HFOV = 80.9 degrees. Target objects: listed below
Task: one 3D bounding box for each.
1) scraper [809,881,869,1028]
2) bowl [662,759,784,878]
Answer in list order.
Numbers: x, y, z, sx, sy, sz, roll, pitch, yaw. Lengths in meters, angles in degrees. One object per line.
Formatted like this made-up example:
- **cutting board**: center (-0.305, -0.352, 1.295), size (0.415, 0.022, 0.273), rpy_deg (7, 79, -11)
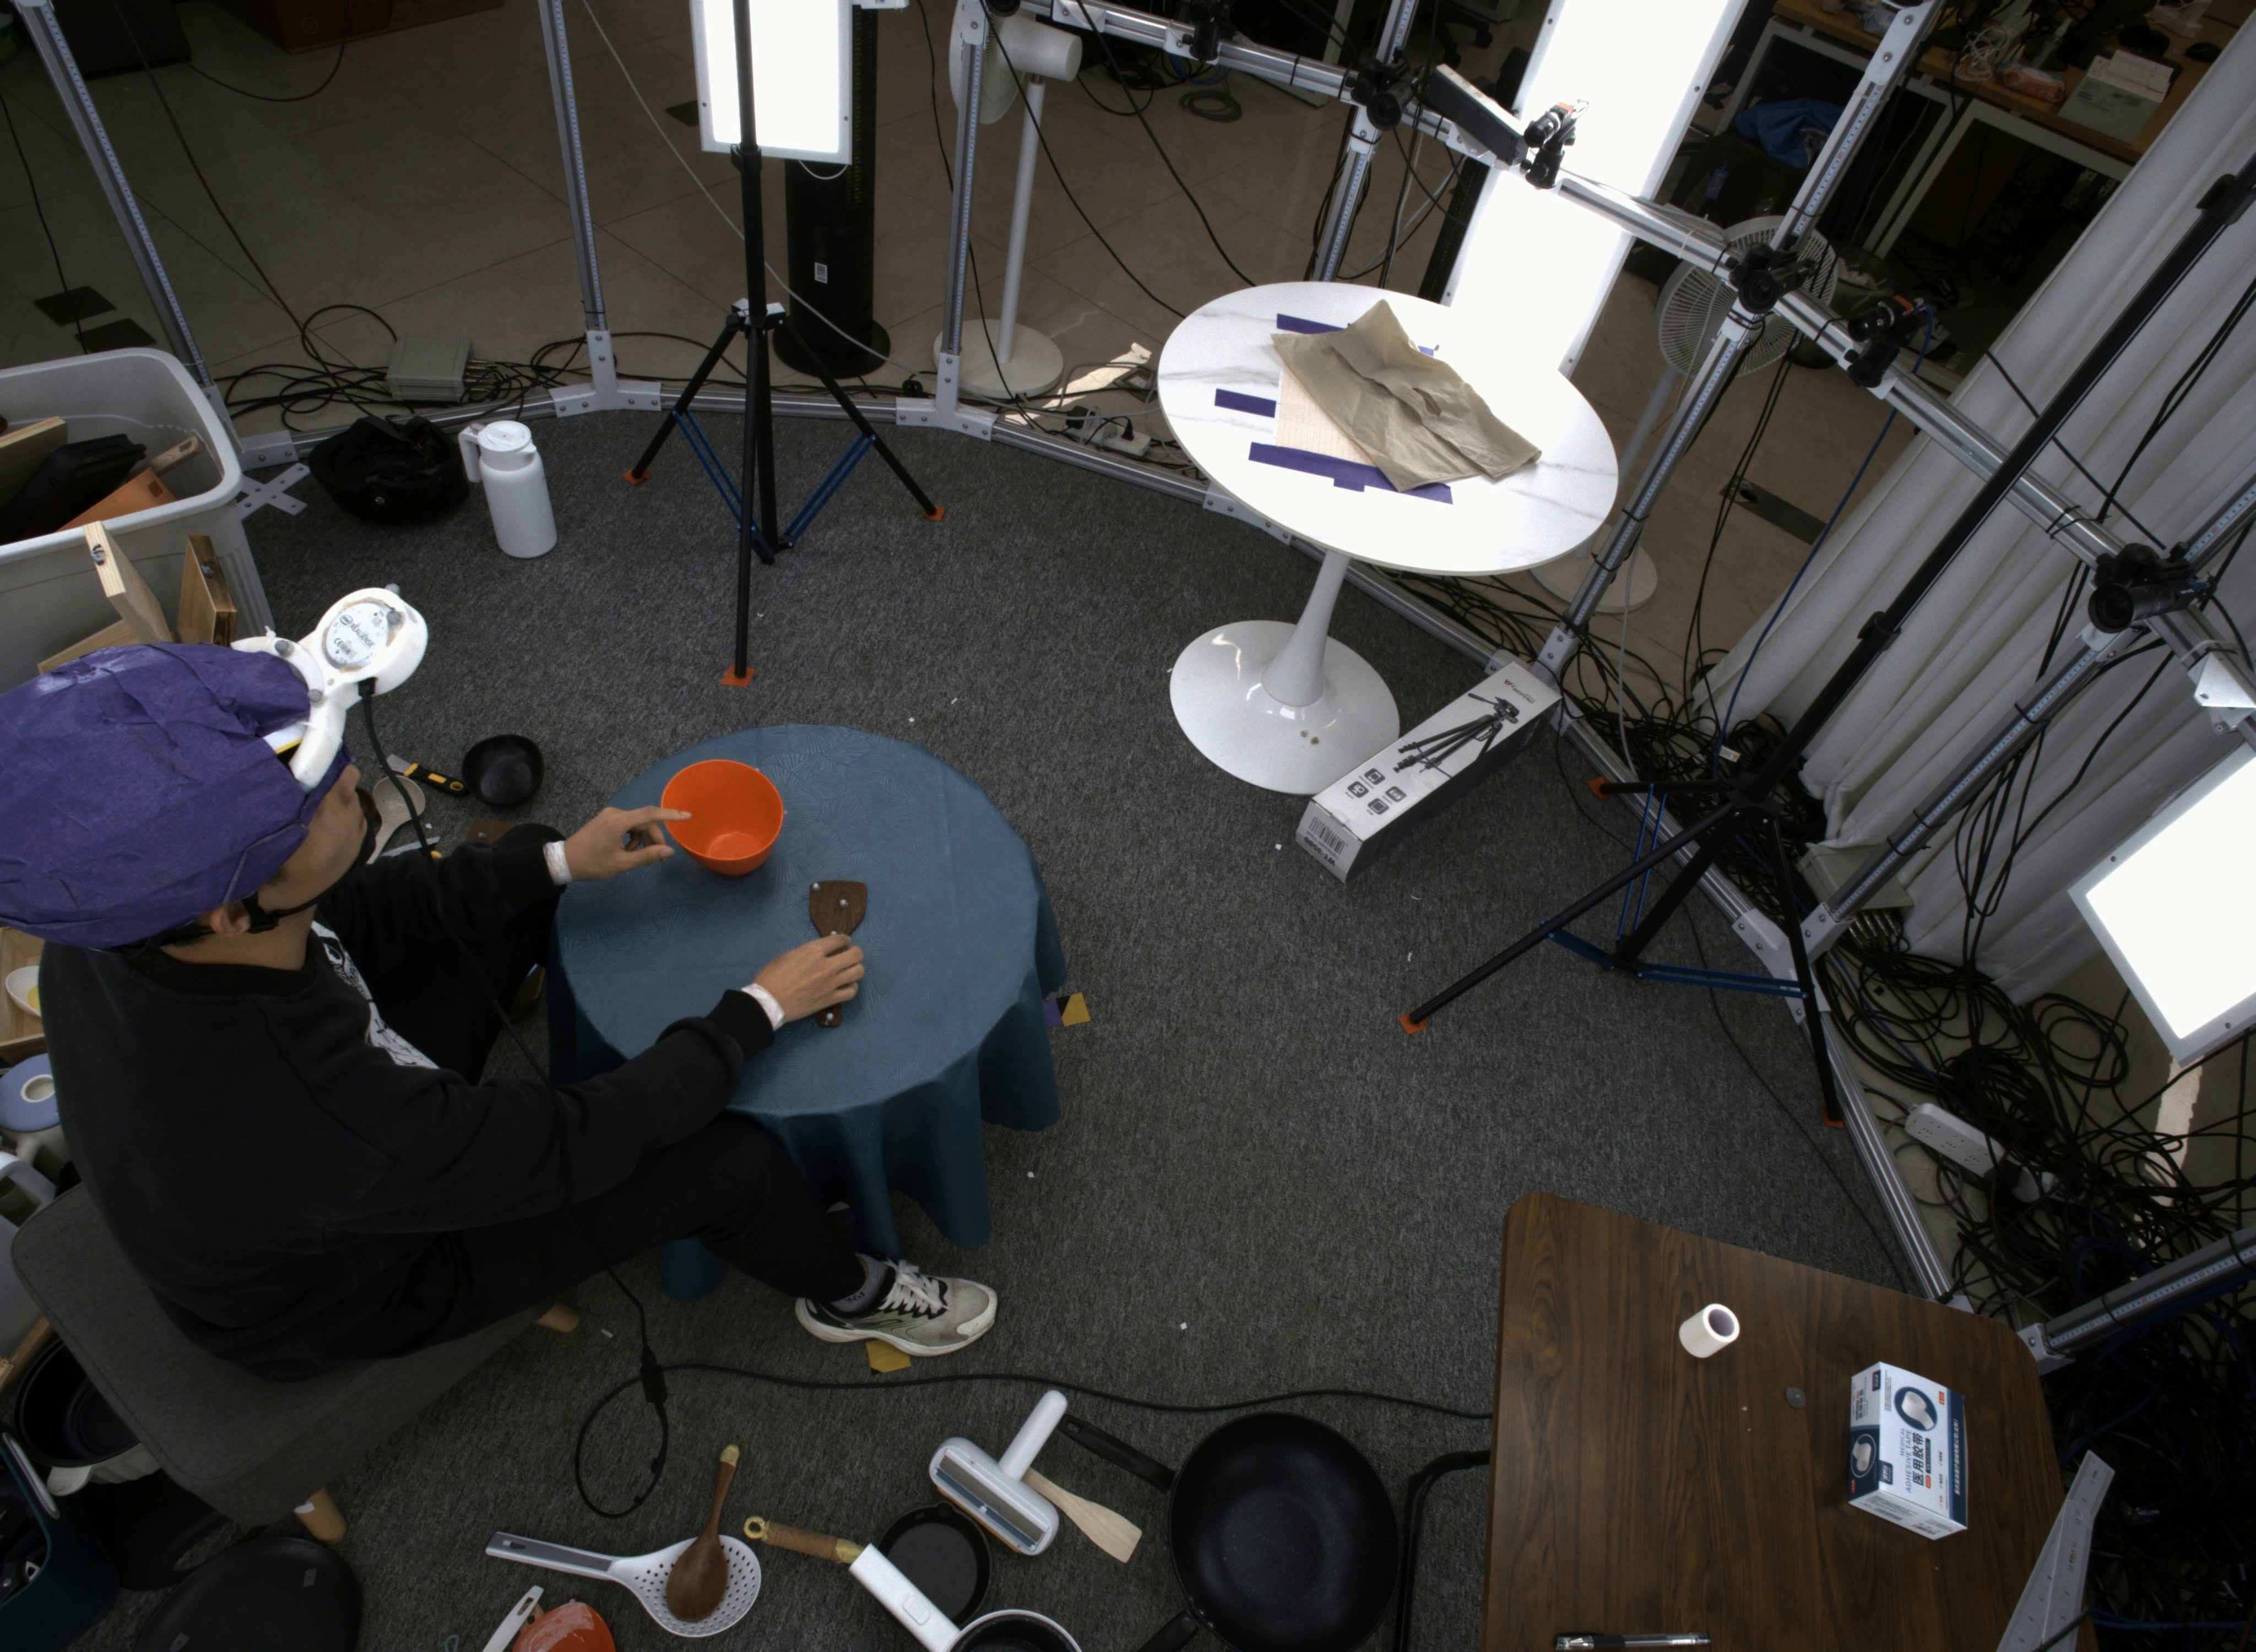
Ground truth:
- **scraper**: center (-0.367, 0.156, 1.622), size (0.076, 0.011, 0.207), rpy_deg (3, 54, -11)
- **bowl**: center (-0.510, 0.002, 1.641), size (0.147, 0.107, 0.145), rpy_deg (7, 52, -8)
